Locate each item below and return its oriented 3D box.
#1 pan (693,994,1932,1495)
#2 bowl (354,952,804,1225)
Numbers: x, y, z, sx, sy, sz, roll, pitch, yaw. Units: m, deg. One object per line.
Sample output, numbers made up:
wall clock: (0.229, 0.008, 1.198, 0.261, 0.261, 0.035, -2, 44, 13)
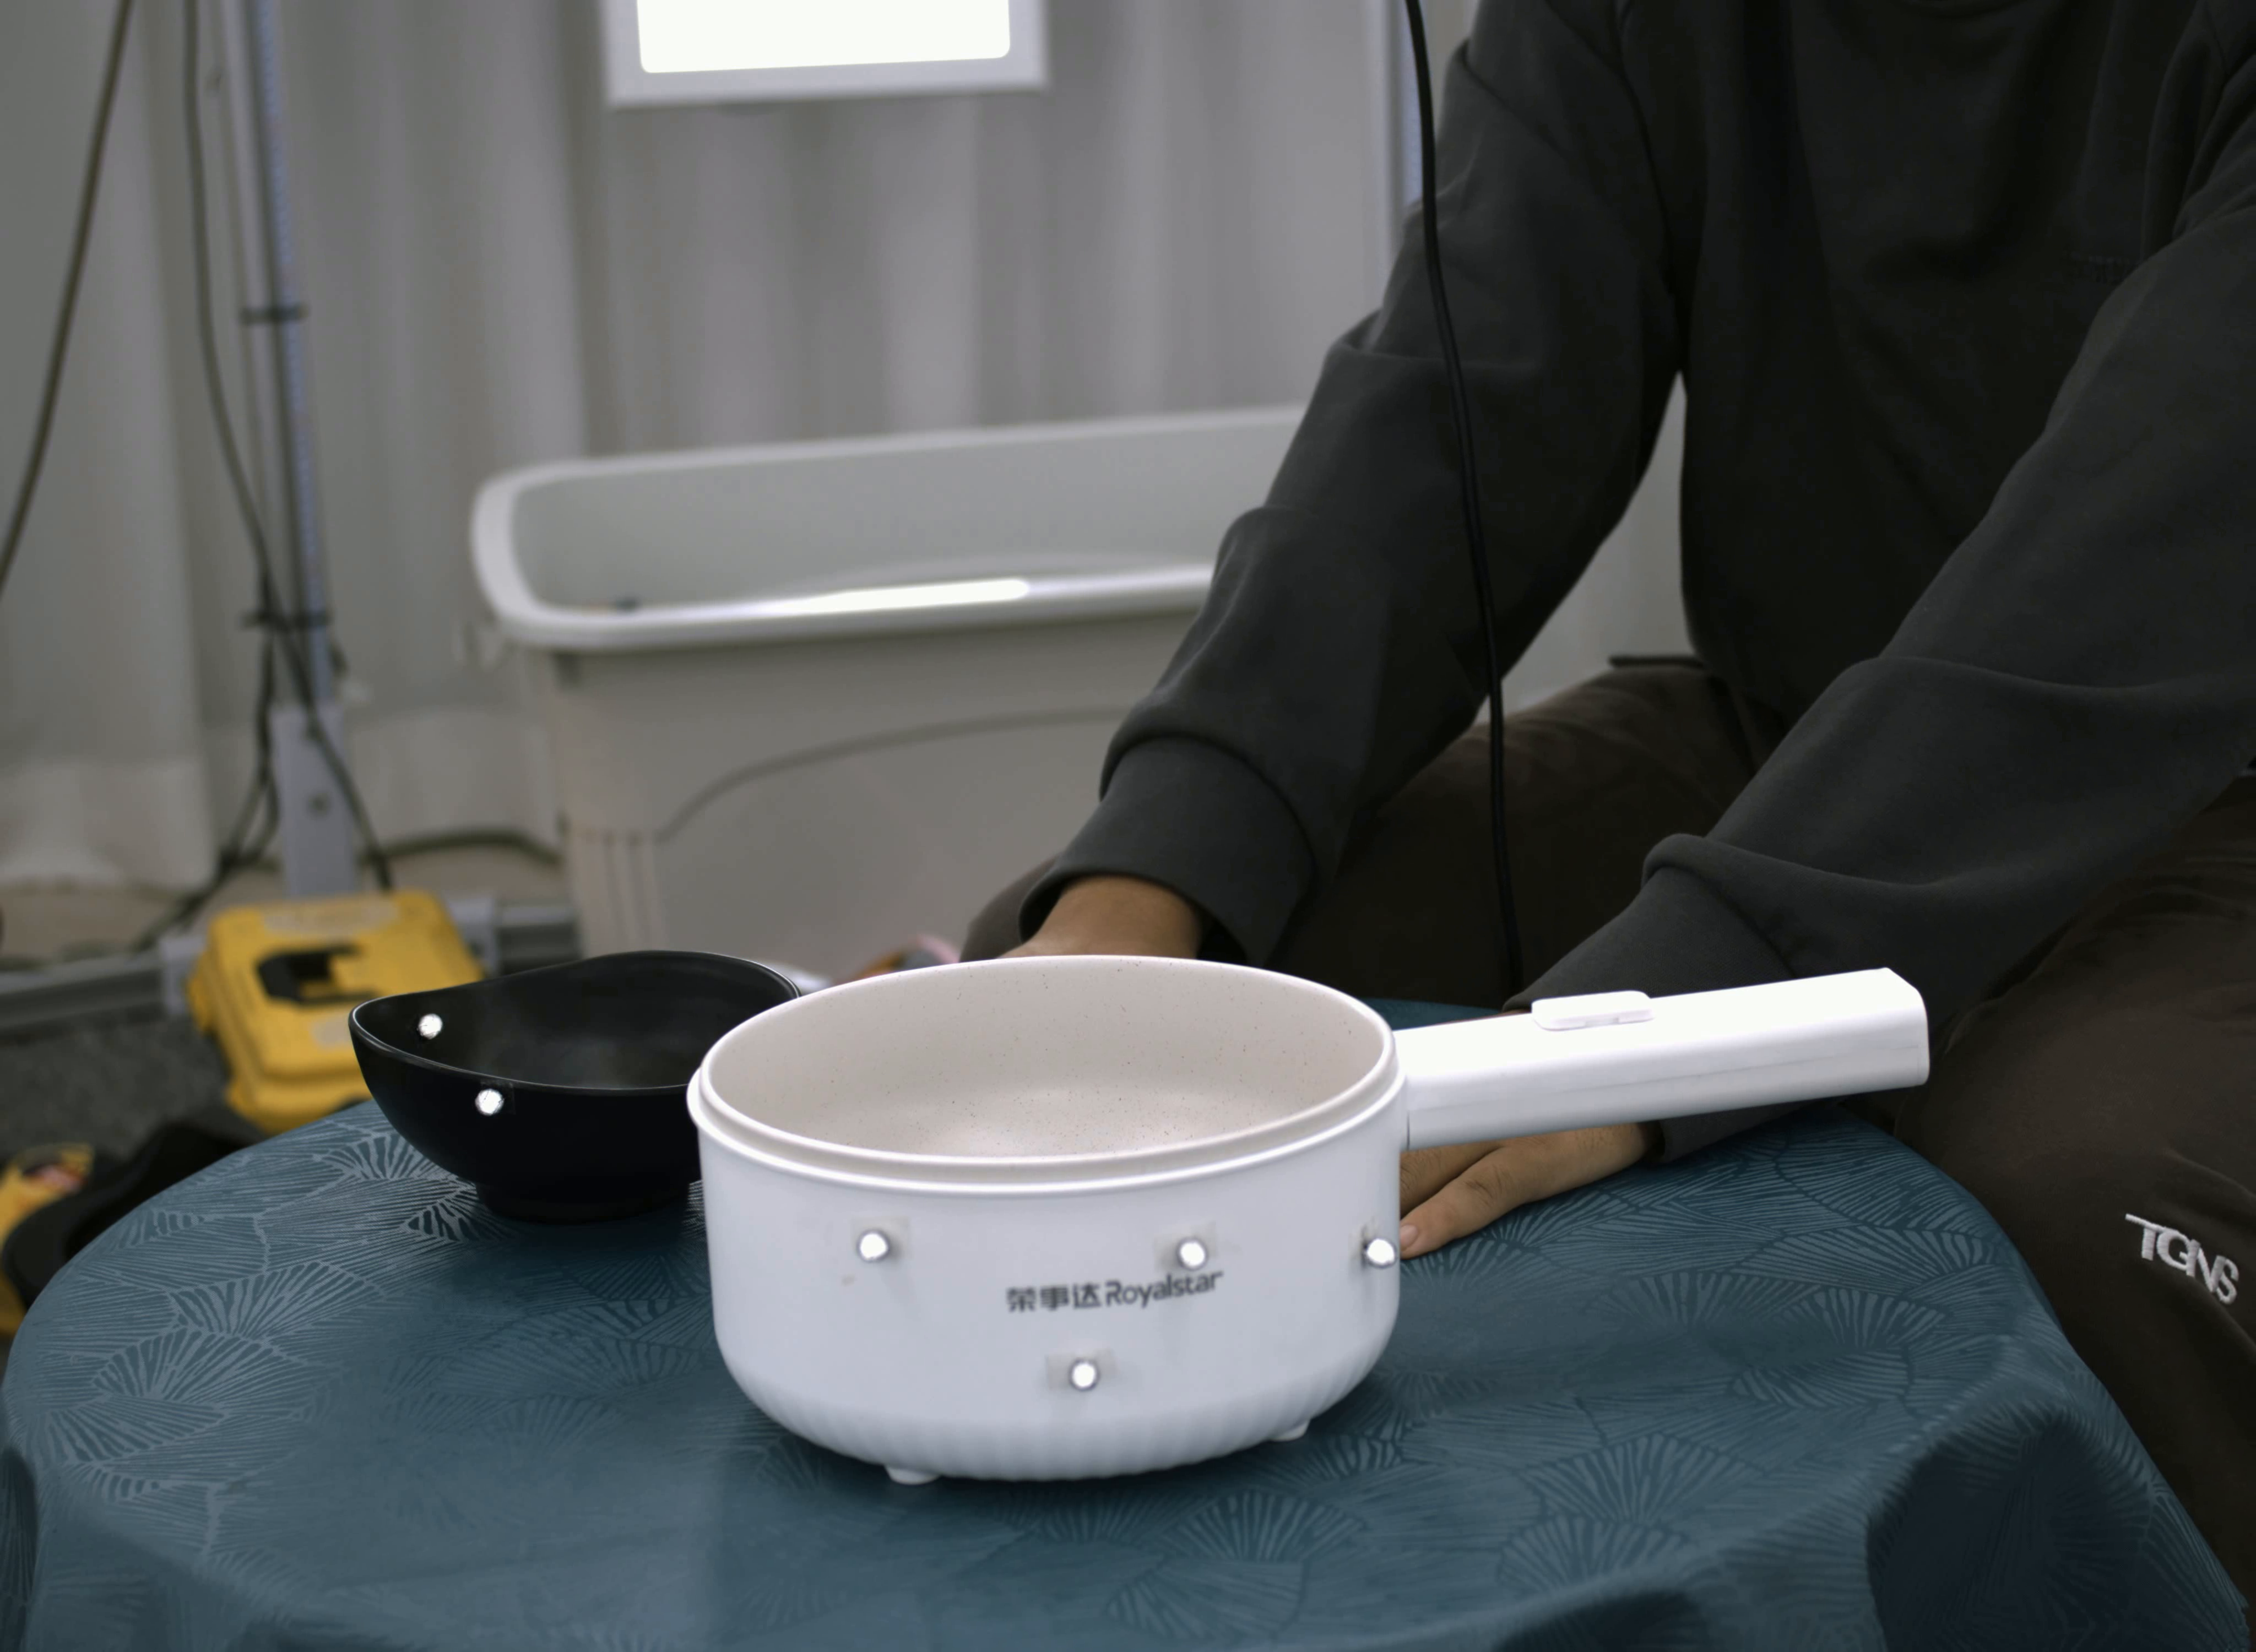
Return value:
pan: (0.054, 0.113, 1.553, 0.353, 0.102, 0.202, -4, 11, -12)
bowl: (-0.173, 0.086, 1.730, 0.137, 0.066, 0.171, -11, 15, -30)
